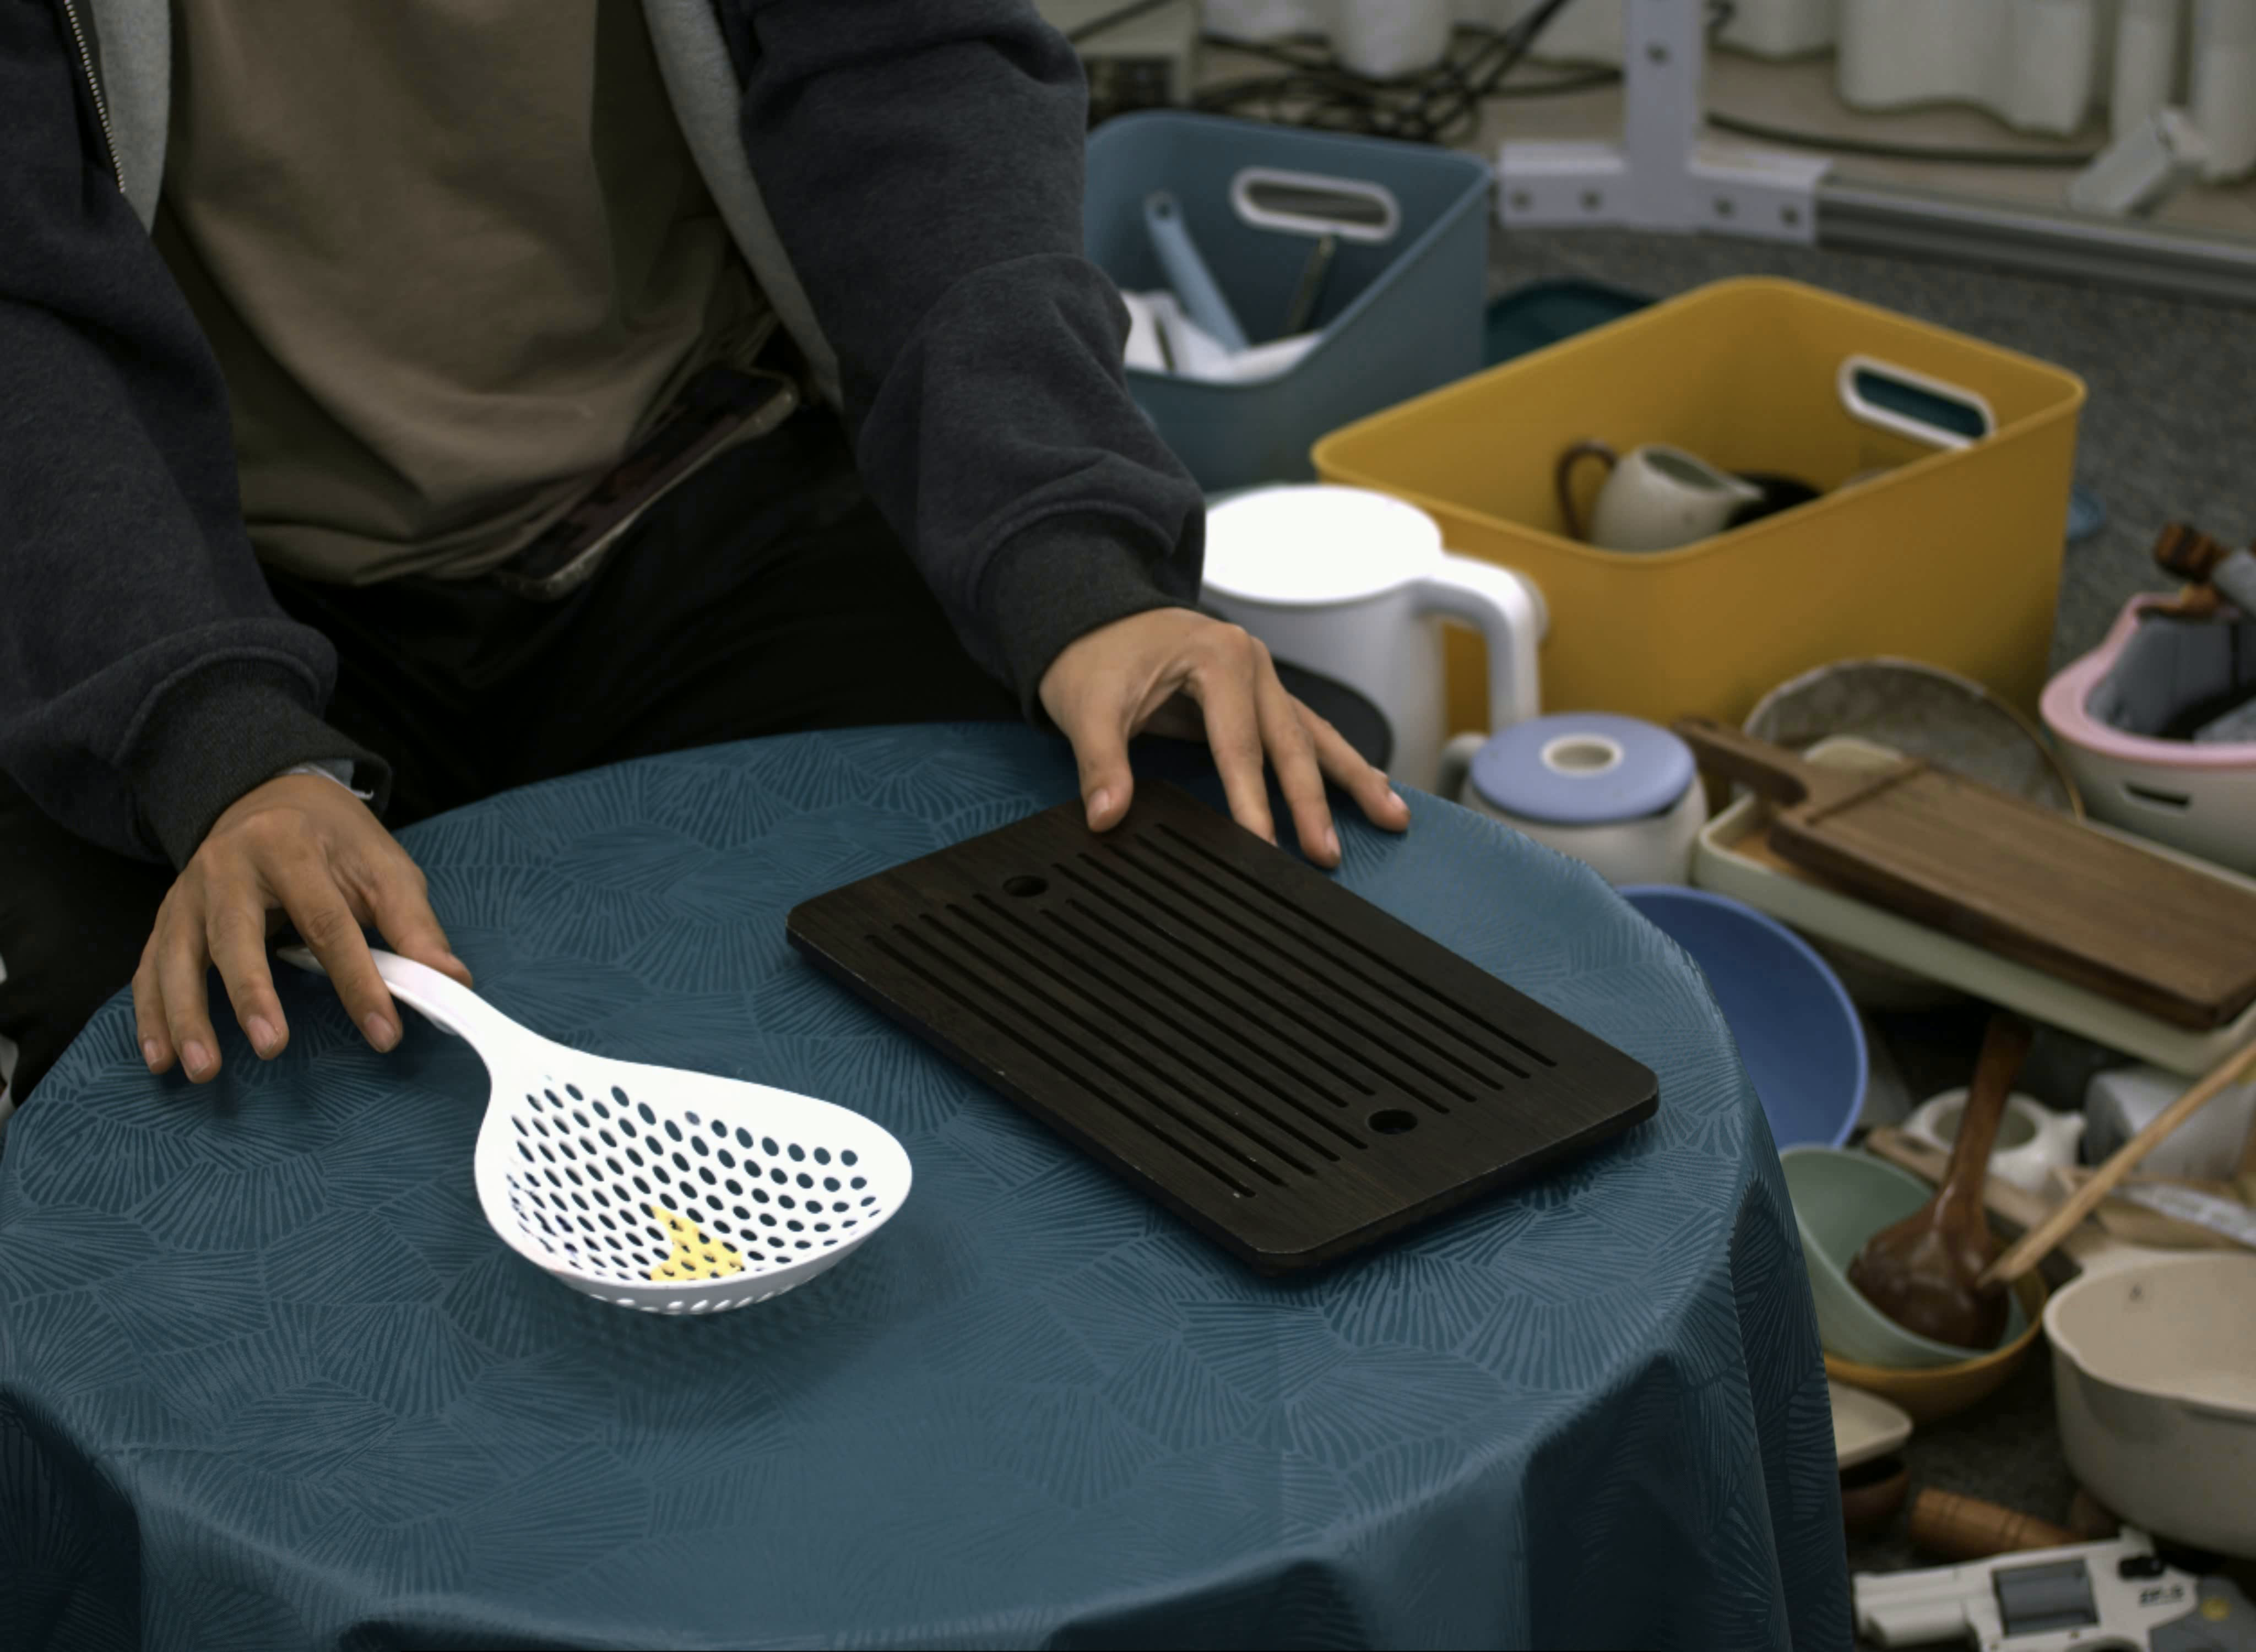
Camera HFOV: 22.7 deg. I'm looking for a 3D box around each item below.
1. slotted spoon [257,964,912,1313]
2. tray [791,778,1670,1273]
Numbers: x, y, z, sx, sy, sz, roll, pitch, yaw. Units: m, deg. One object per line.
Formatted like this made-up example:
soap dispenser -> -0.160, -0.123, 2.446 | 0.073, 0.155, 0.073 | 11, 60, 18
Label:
slotted spoon -> -0.202, 0.092, 1.896 | 0.138, 0.050, 0.348 | -20, 32, -31
tray -> 0.030, 0.065, 1.948 | 0.171, 0.018, 0.306 | -20, 32, -30
